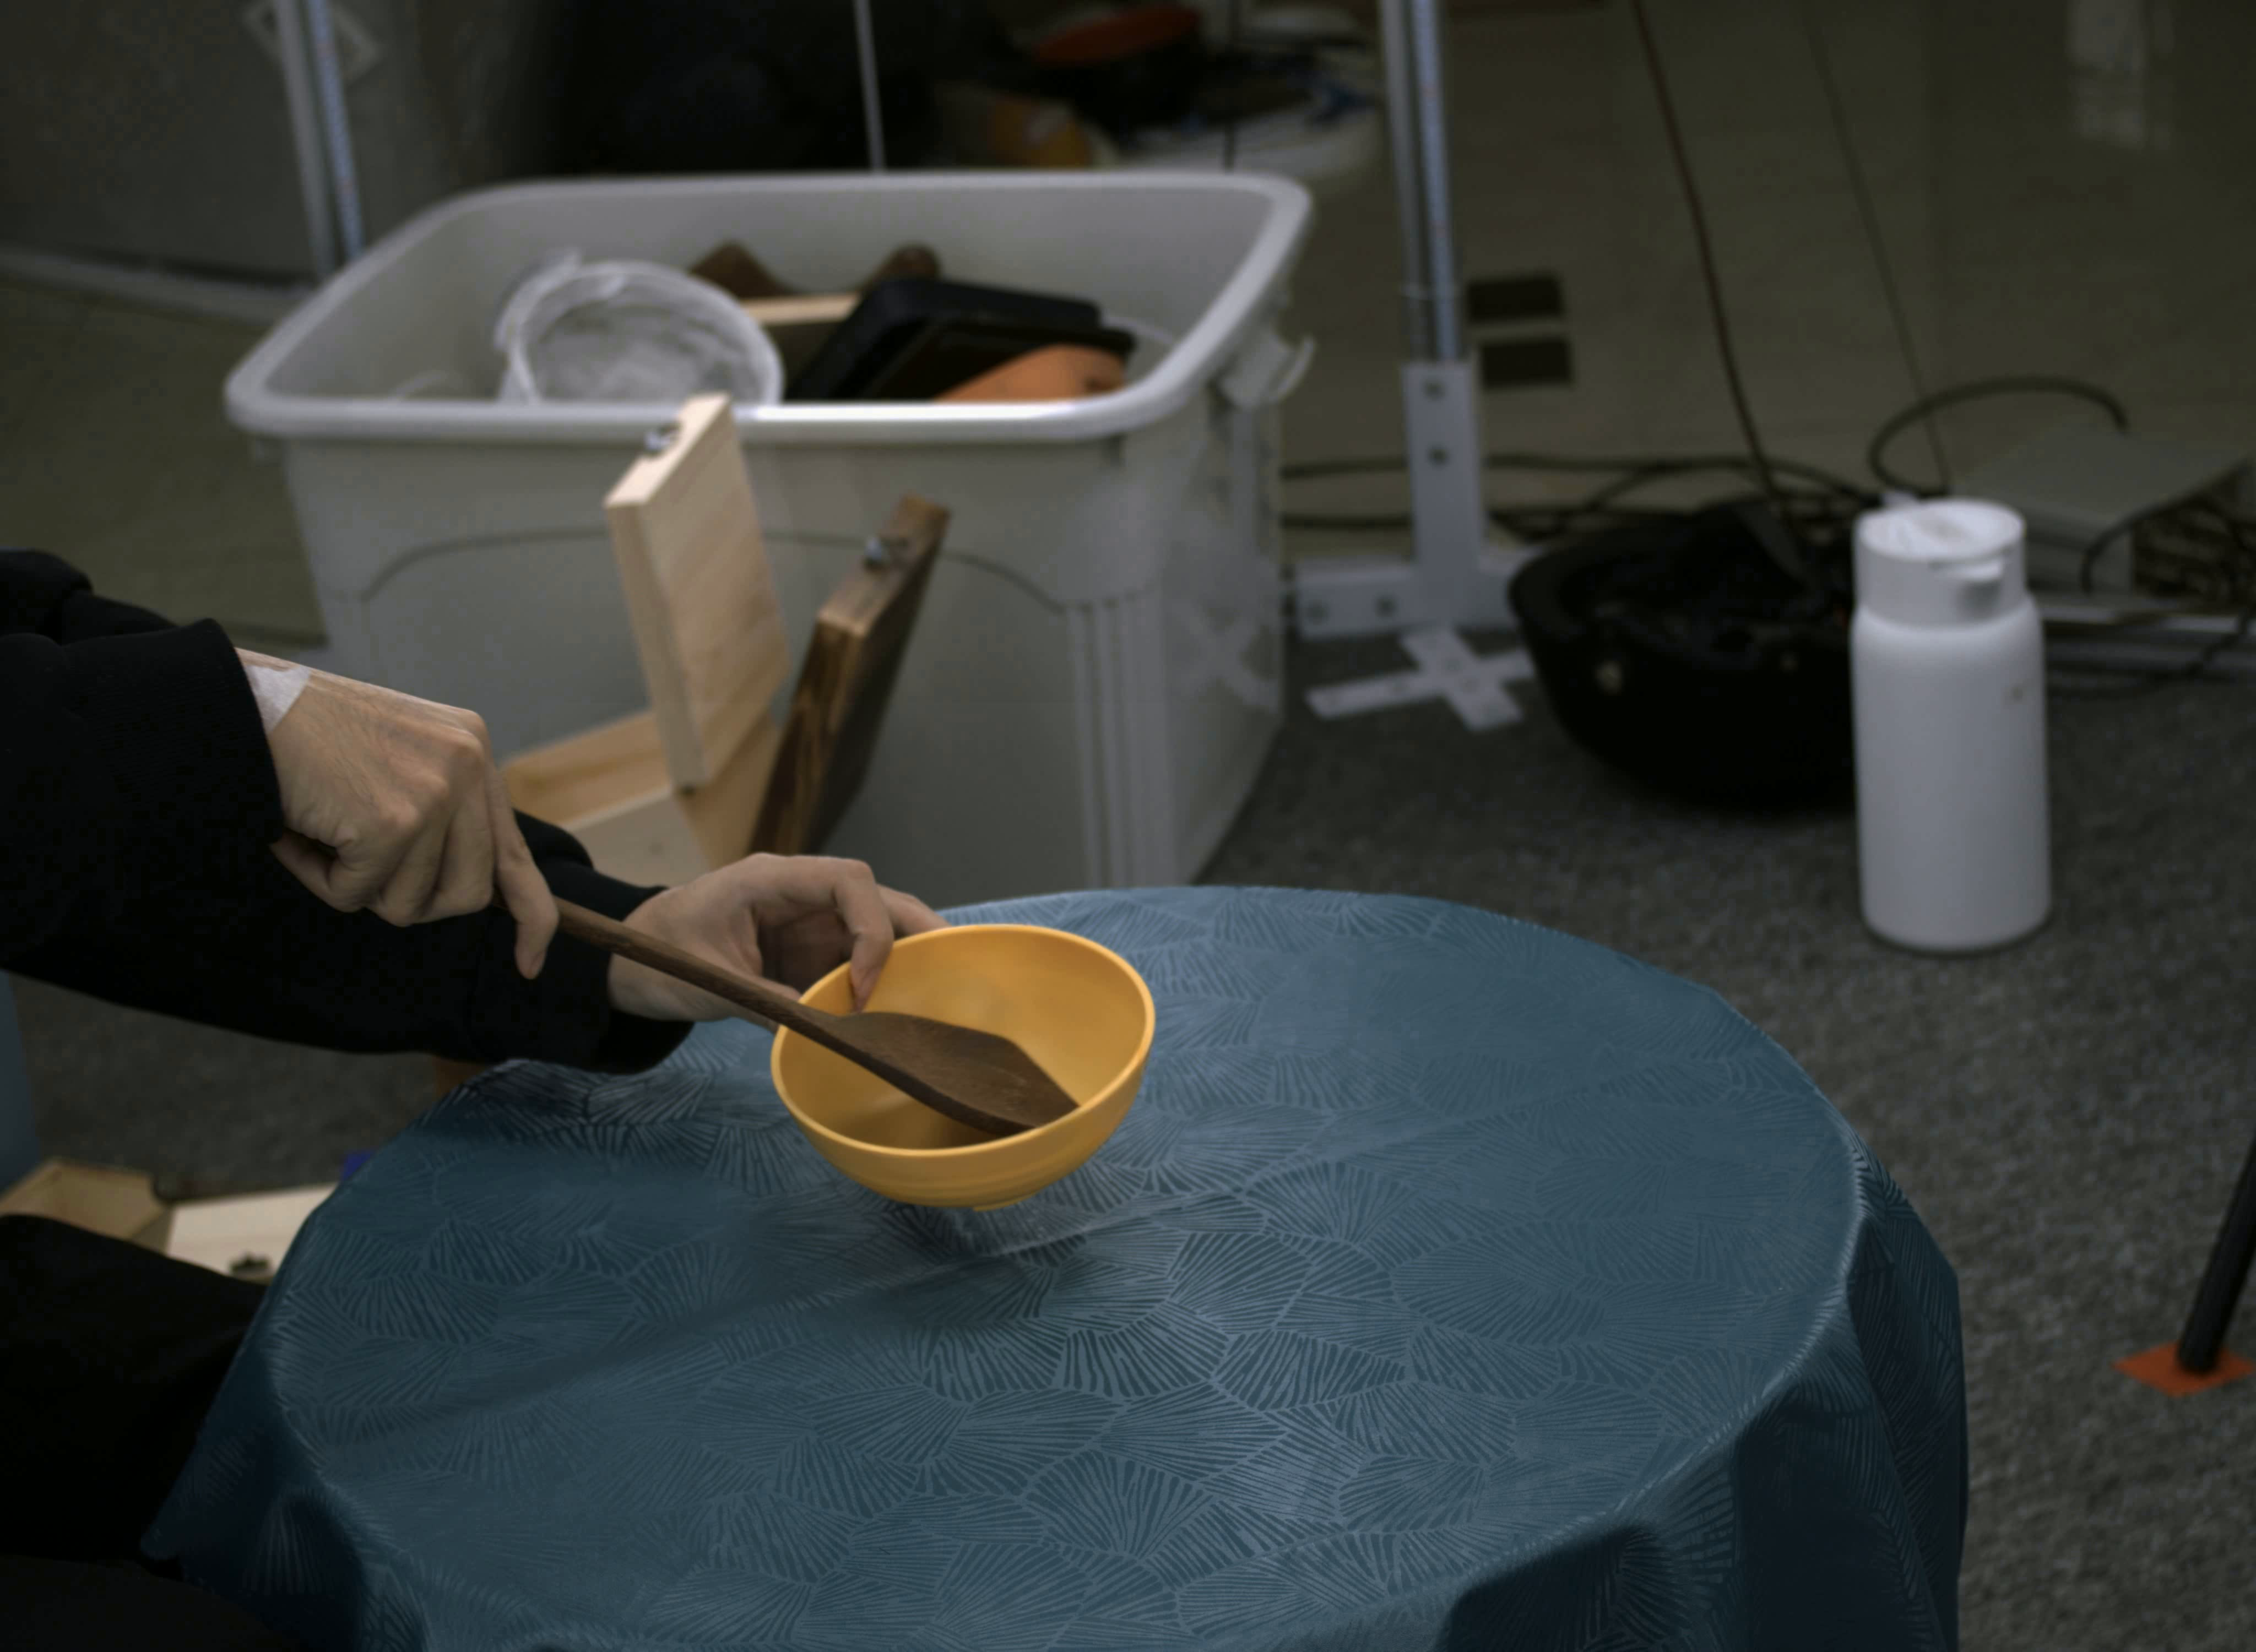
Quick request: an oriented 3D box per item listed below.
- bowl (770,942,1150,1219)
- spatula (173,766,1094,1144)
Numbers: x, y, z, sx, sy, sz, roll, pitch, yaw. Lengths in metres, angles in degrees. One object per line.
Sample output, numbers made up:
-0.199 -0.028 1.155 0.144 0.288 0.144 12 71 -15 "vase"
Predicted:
-0.059 0.105 2.127 0.145 0.061 0.143 -8 31 5 "bowl"
-0.174 0.046 2.039 0.388 0.016 0.095 24 11 -33 "spatula"
